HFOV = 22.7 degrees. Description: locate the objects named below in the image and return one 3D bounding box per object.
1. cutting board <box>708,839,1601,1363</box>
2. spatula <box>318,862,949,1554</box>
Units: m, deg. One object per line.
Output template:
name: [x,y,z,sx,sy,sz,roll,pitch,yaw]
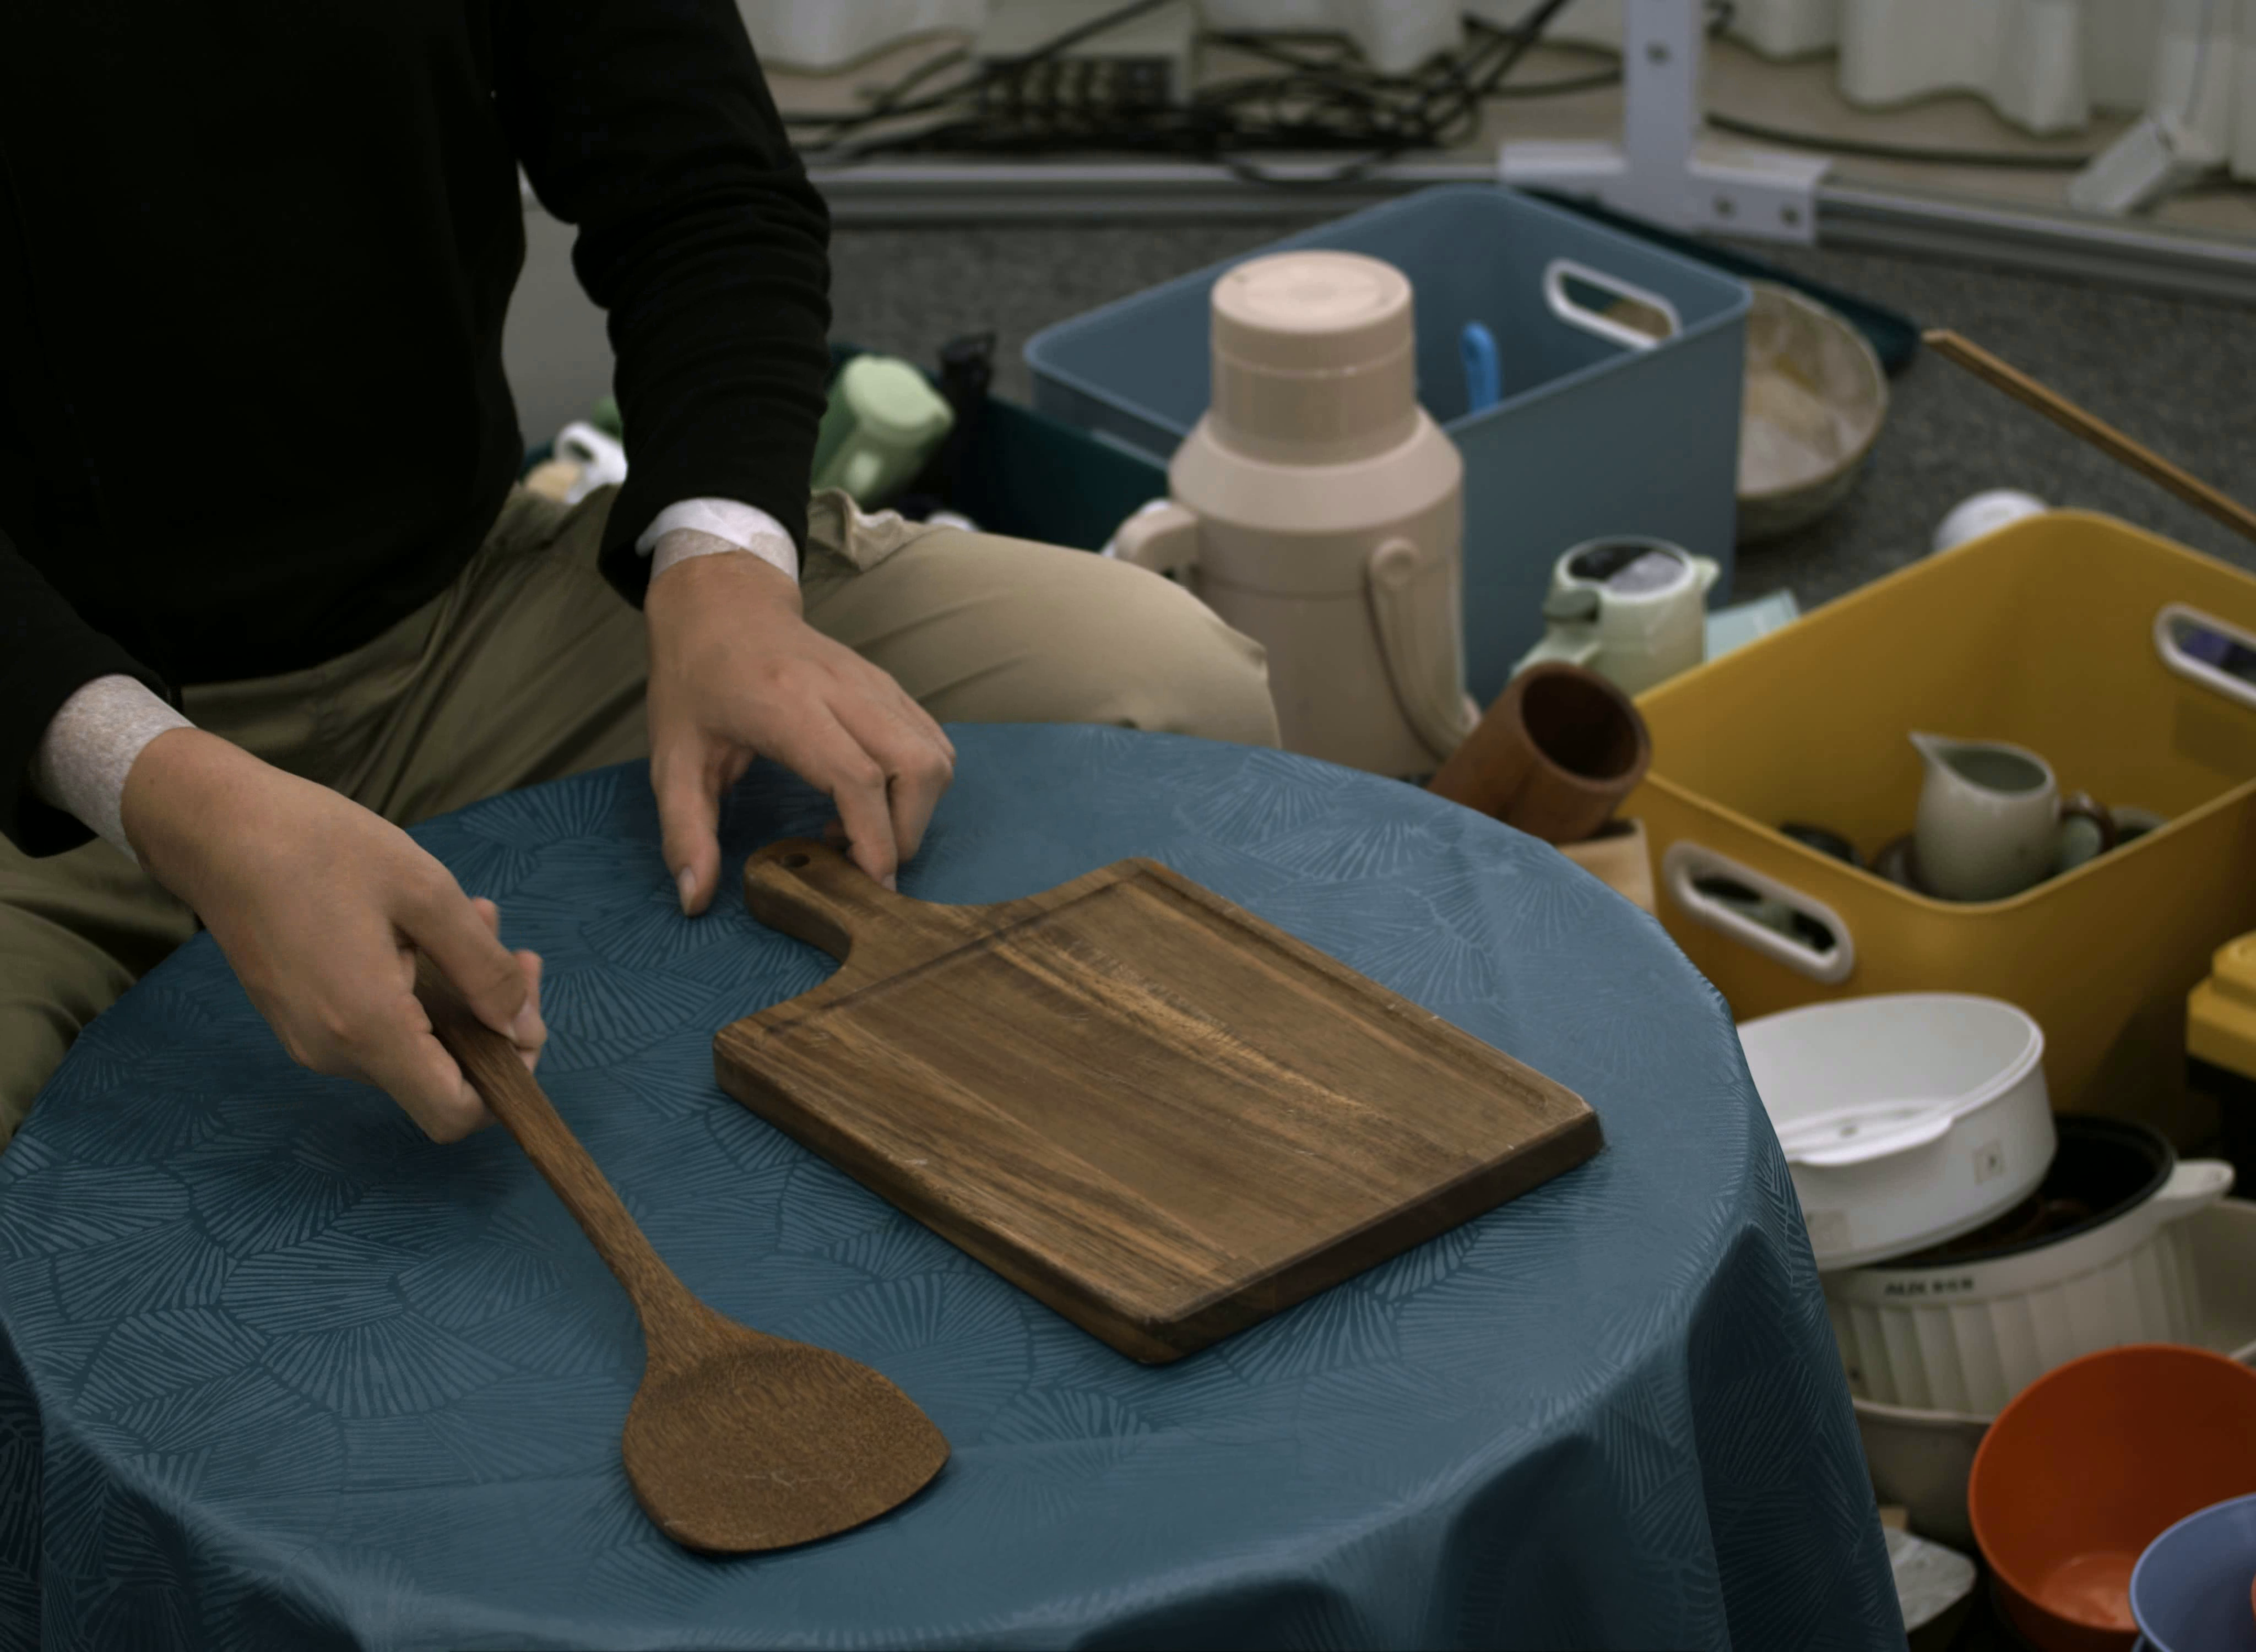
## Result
cutting board: [-0.024,0.073,1.934,0.203,0.023,0.352,-22,33,-33]
spatula: [-0.181,0.114,1.828,0.096,0.015,0.389,-17,40,-24]
